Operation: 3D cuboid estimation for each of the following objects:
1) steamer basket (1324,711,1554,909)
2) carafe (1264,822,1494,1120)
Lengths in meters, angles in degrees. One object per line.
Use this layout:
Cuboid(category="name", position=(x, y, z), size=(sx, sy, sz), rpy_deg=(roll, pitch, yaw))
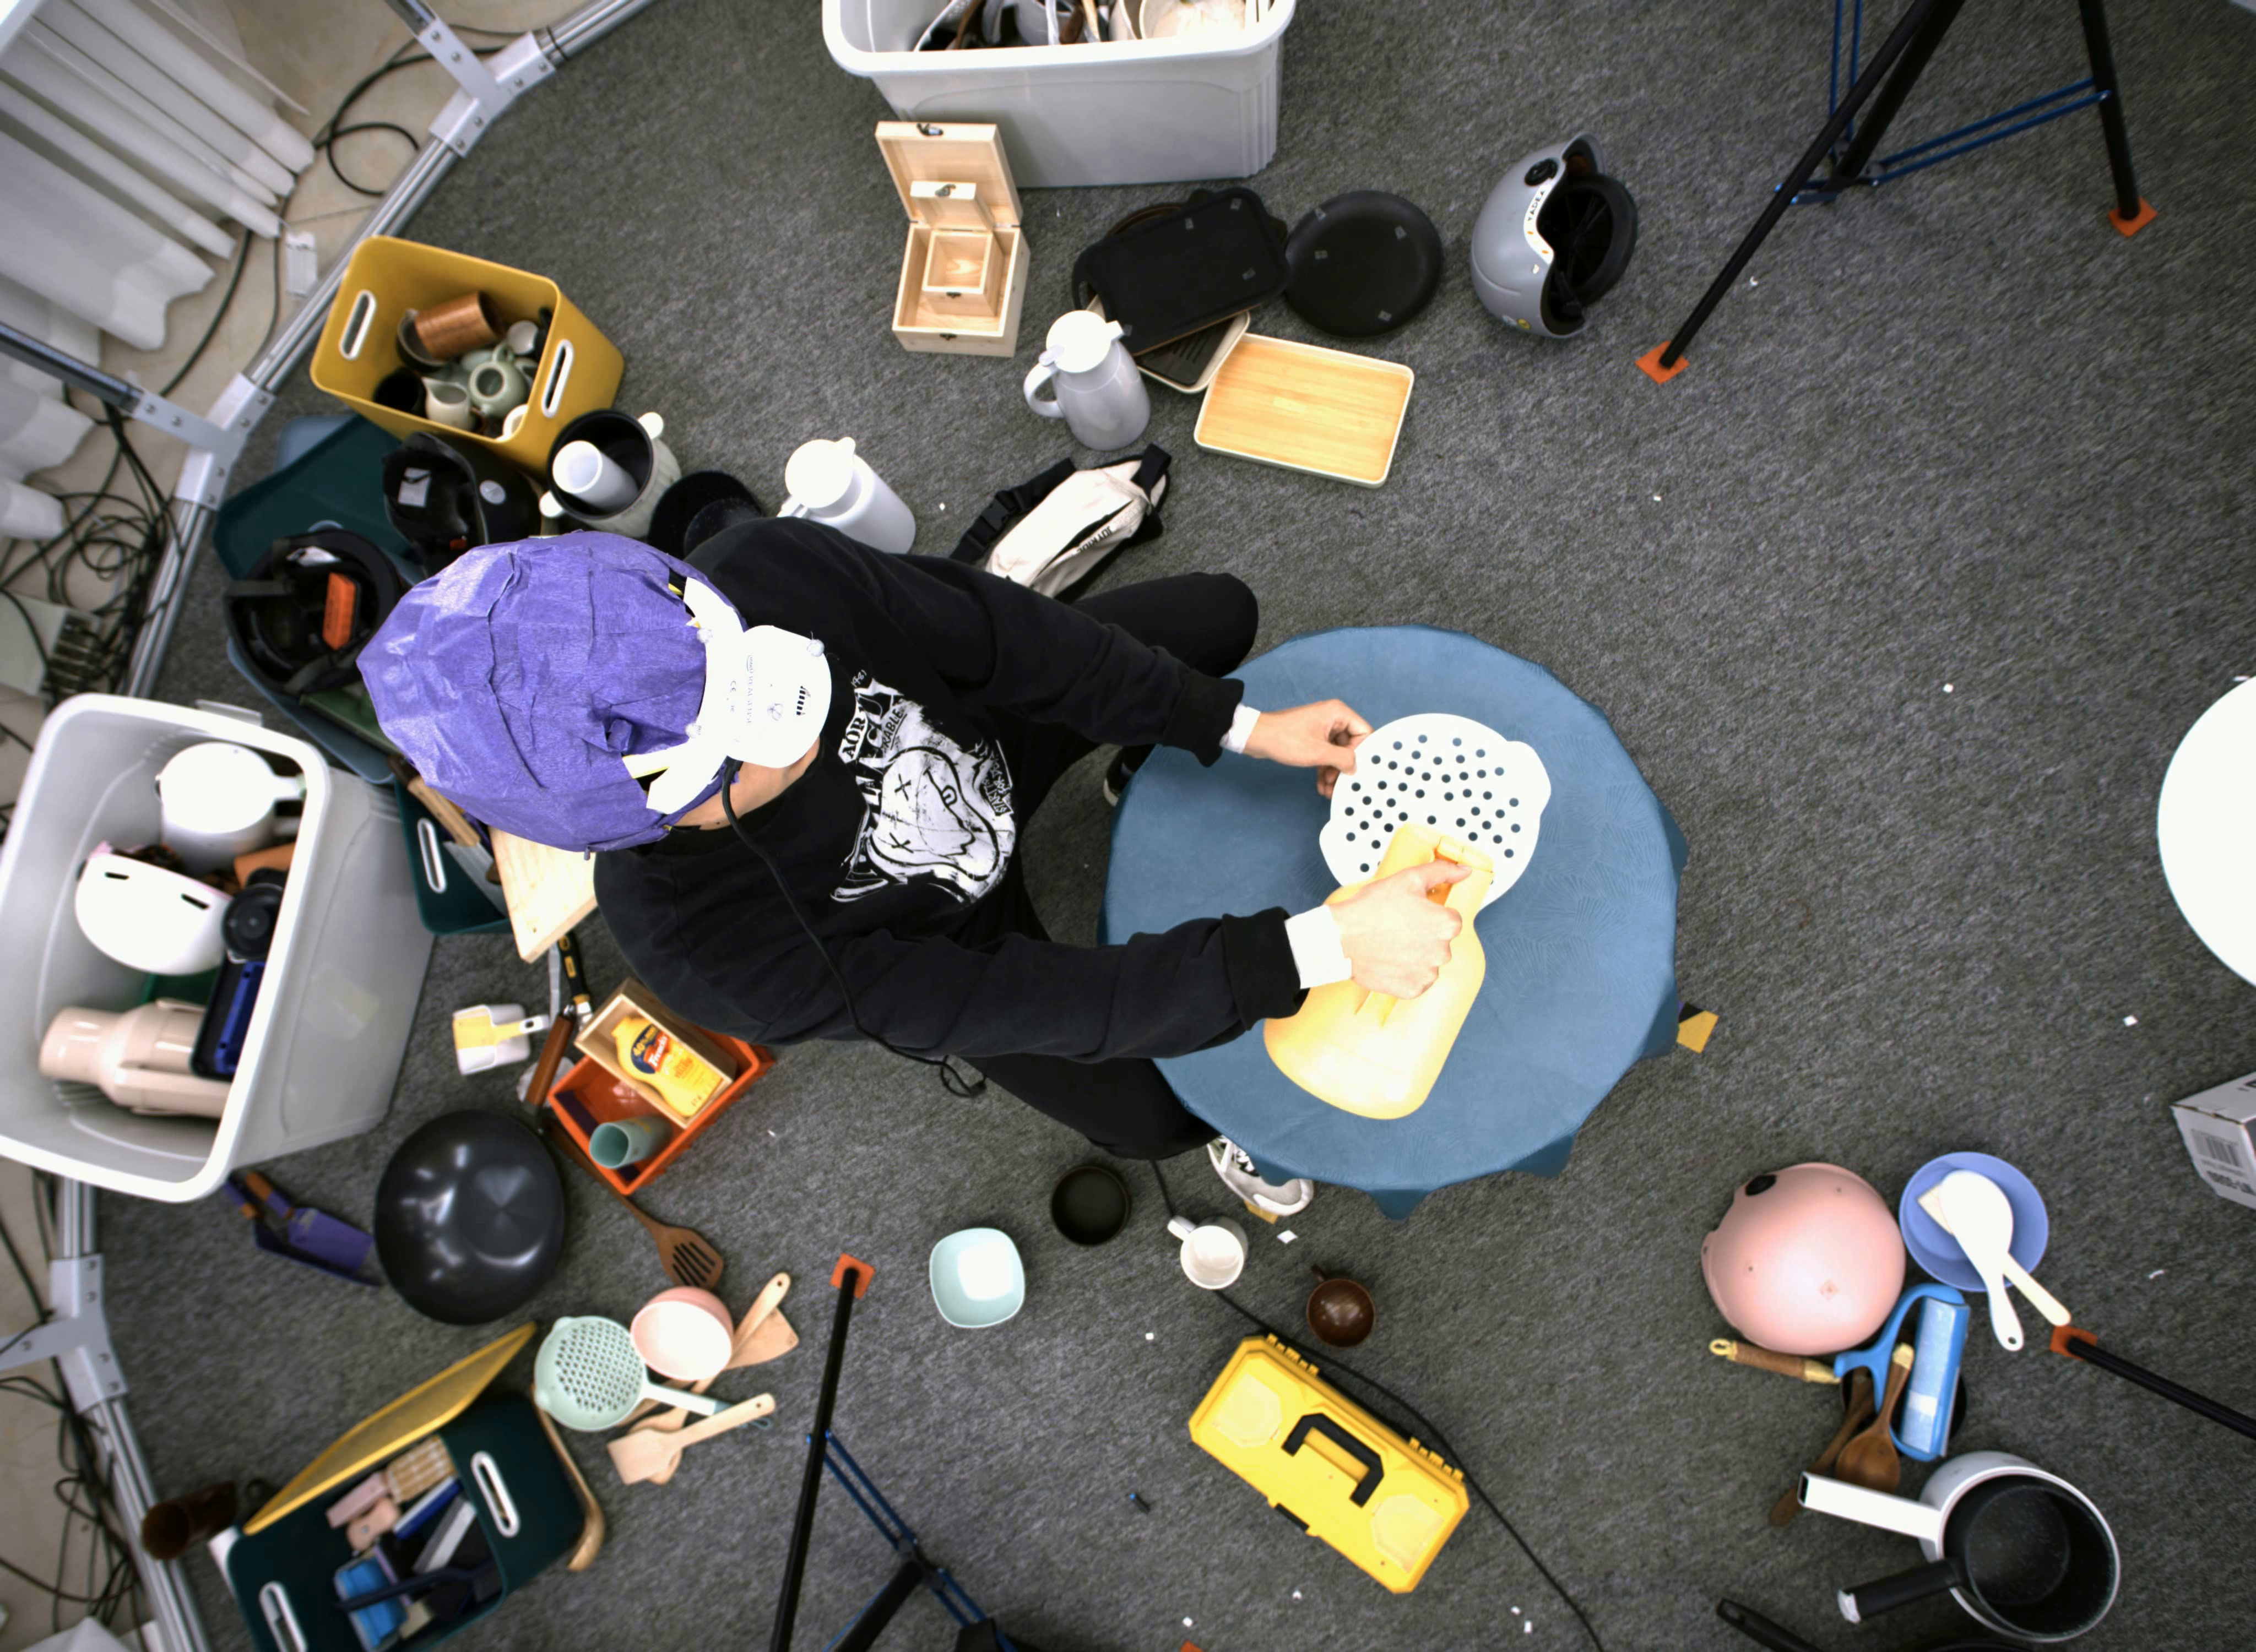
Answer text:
Cuboid(category="steamer basket", position=(0.310, -0.013, 1.379), size=(0.232, 0.069, 0.201), rpy_deg=(-24, 85, 10))
Cuboid(category="carafe", position=(0.234, 0.126, 1.240), size=(0.163, 0.201, 0.263), rpy_deg=(24, 100, 12))
